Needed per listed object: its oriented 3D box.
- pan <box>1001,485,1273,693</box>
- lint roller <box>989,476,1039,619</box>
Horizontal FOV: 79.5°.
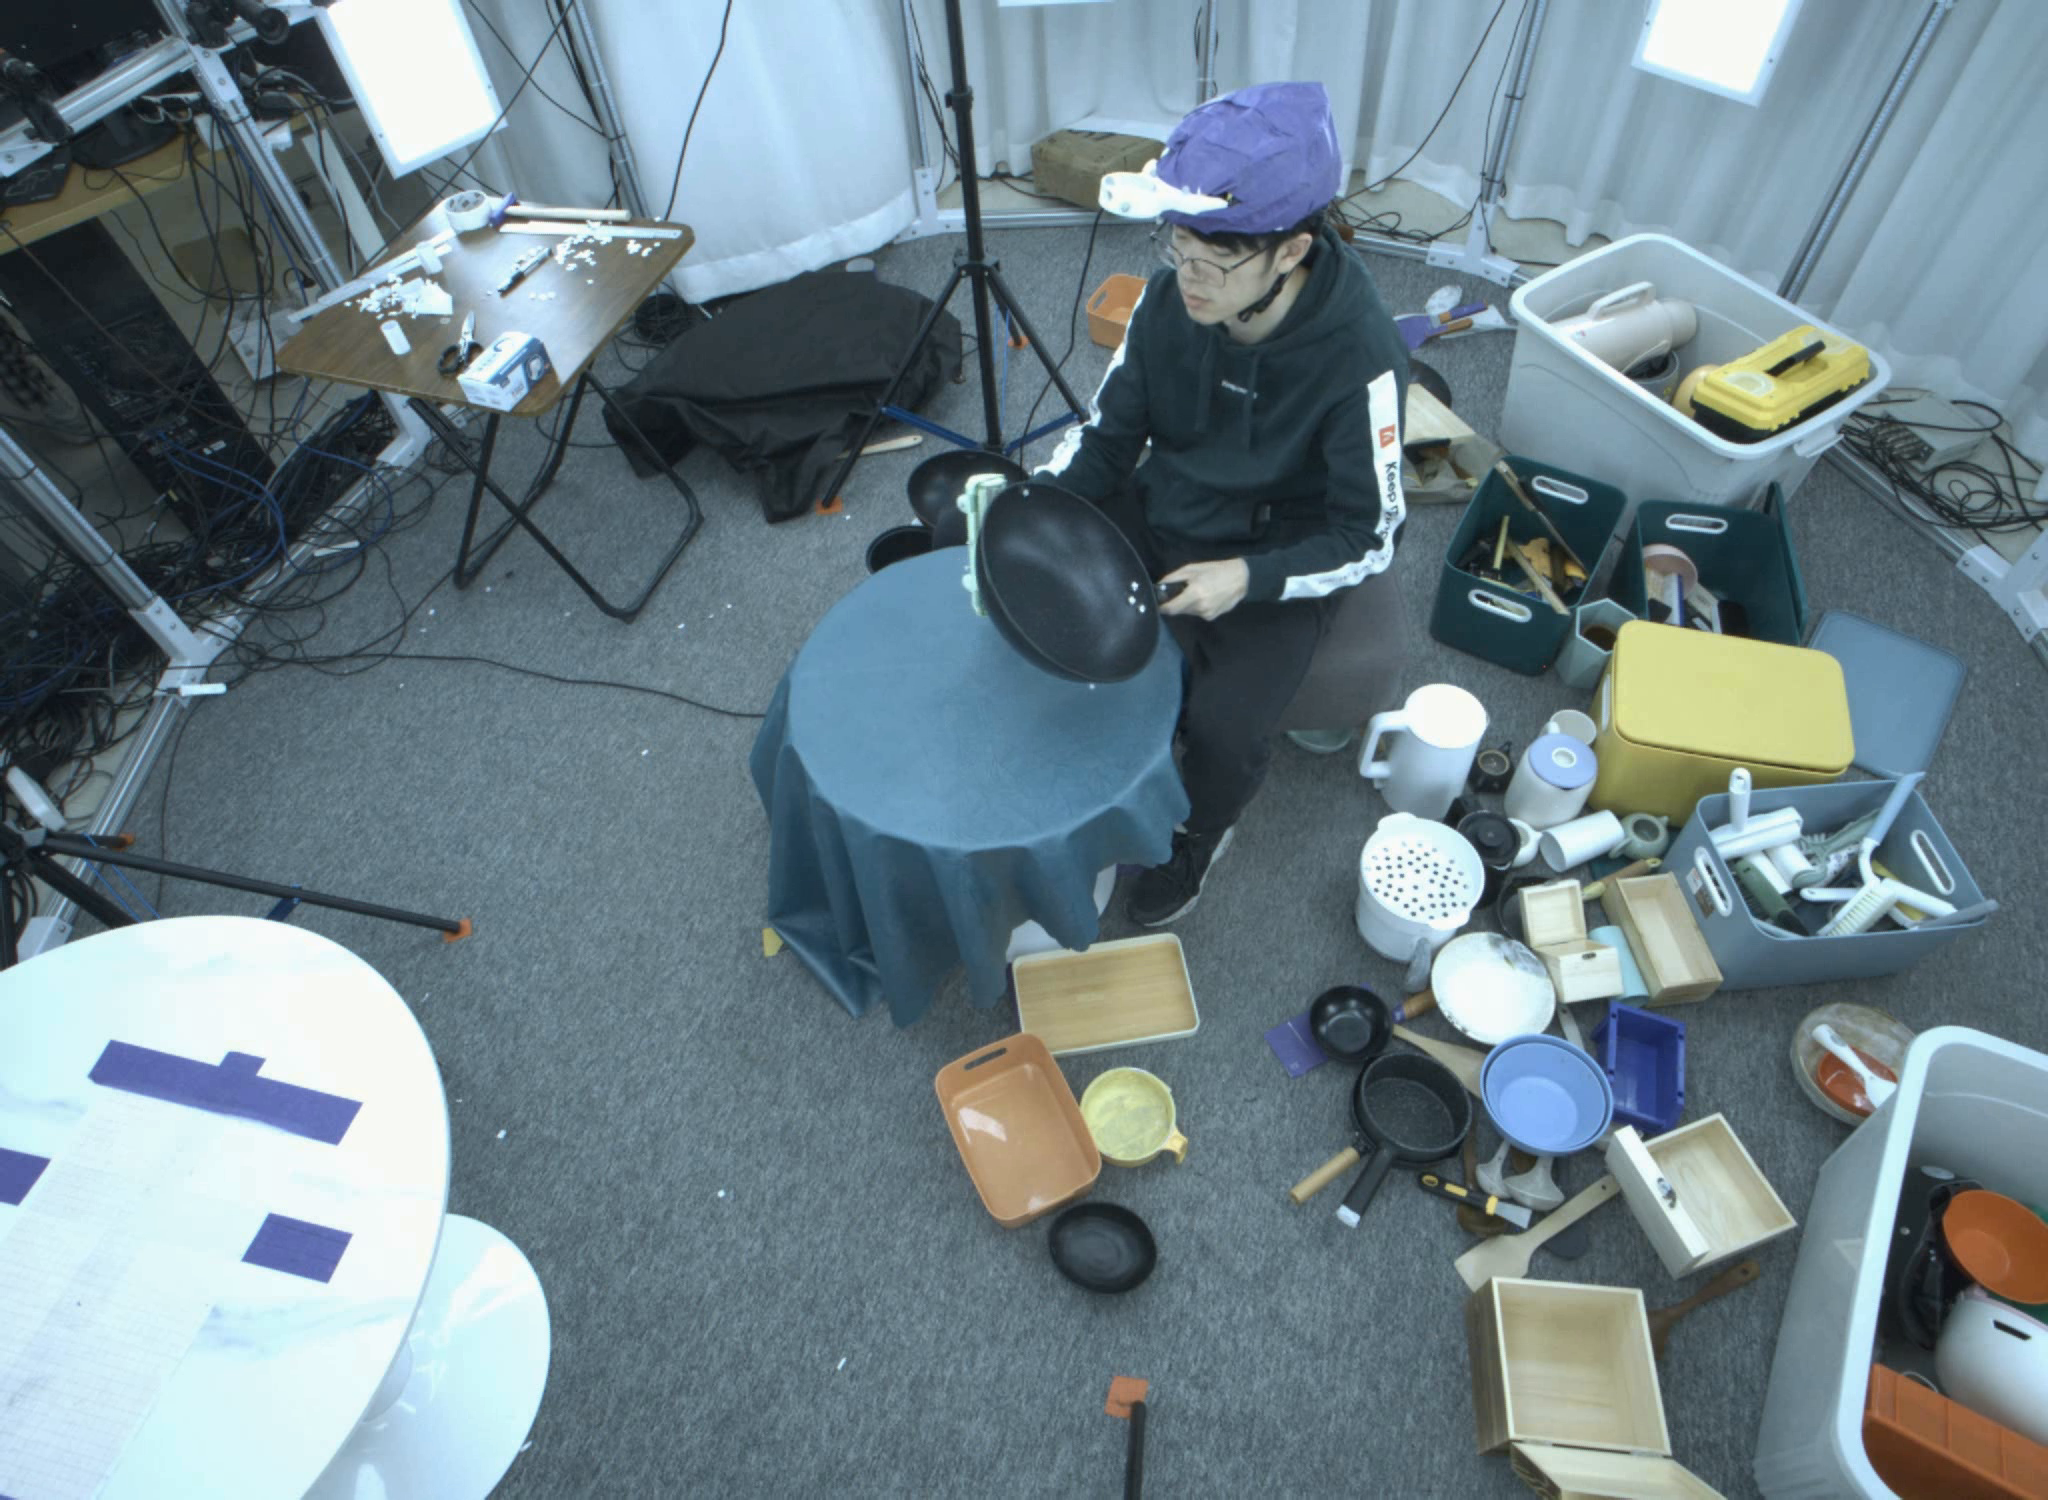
[{"bbox_3d":[0.153,-0.208,1.721,0.487,0.110,0.307,1,69,-40],"label":"pan"},{"bbox_3d":[0.002,-0.307,1.772,0.081,0.200,0.184,6,25,15],"label":"lint roller"}]
